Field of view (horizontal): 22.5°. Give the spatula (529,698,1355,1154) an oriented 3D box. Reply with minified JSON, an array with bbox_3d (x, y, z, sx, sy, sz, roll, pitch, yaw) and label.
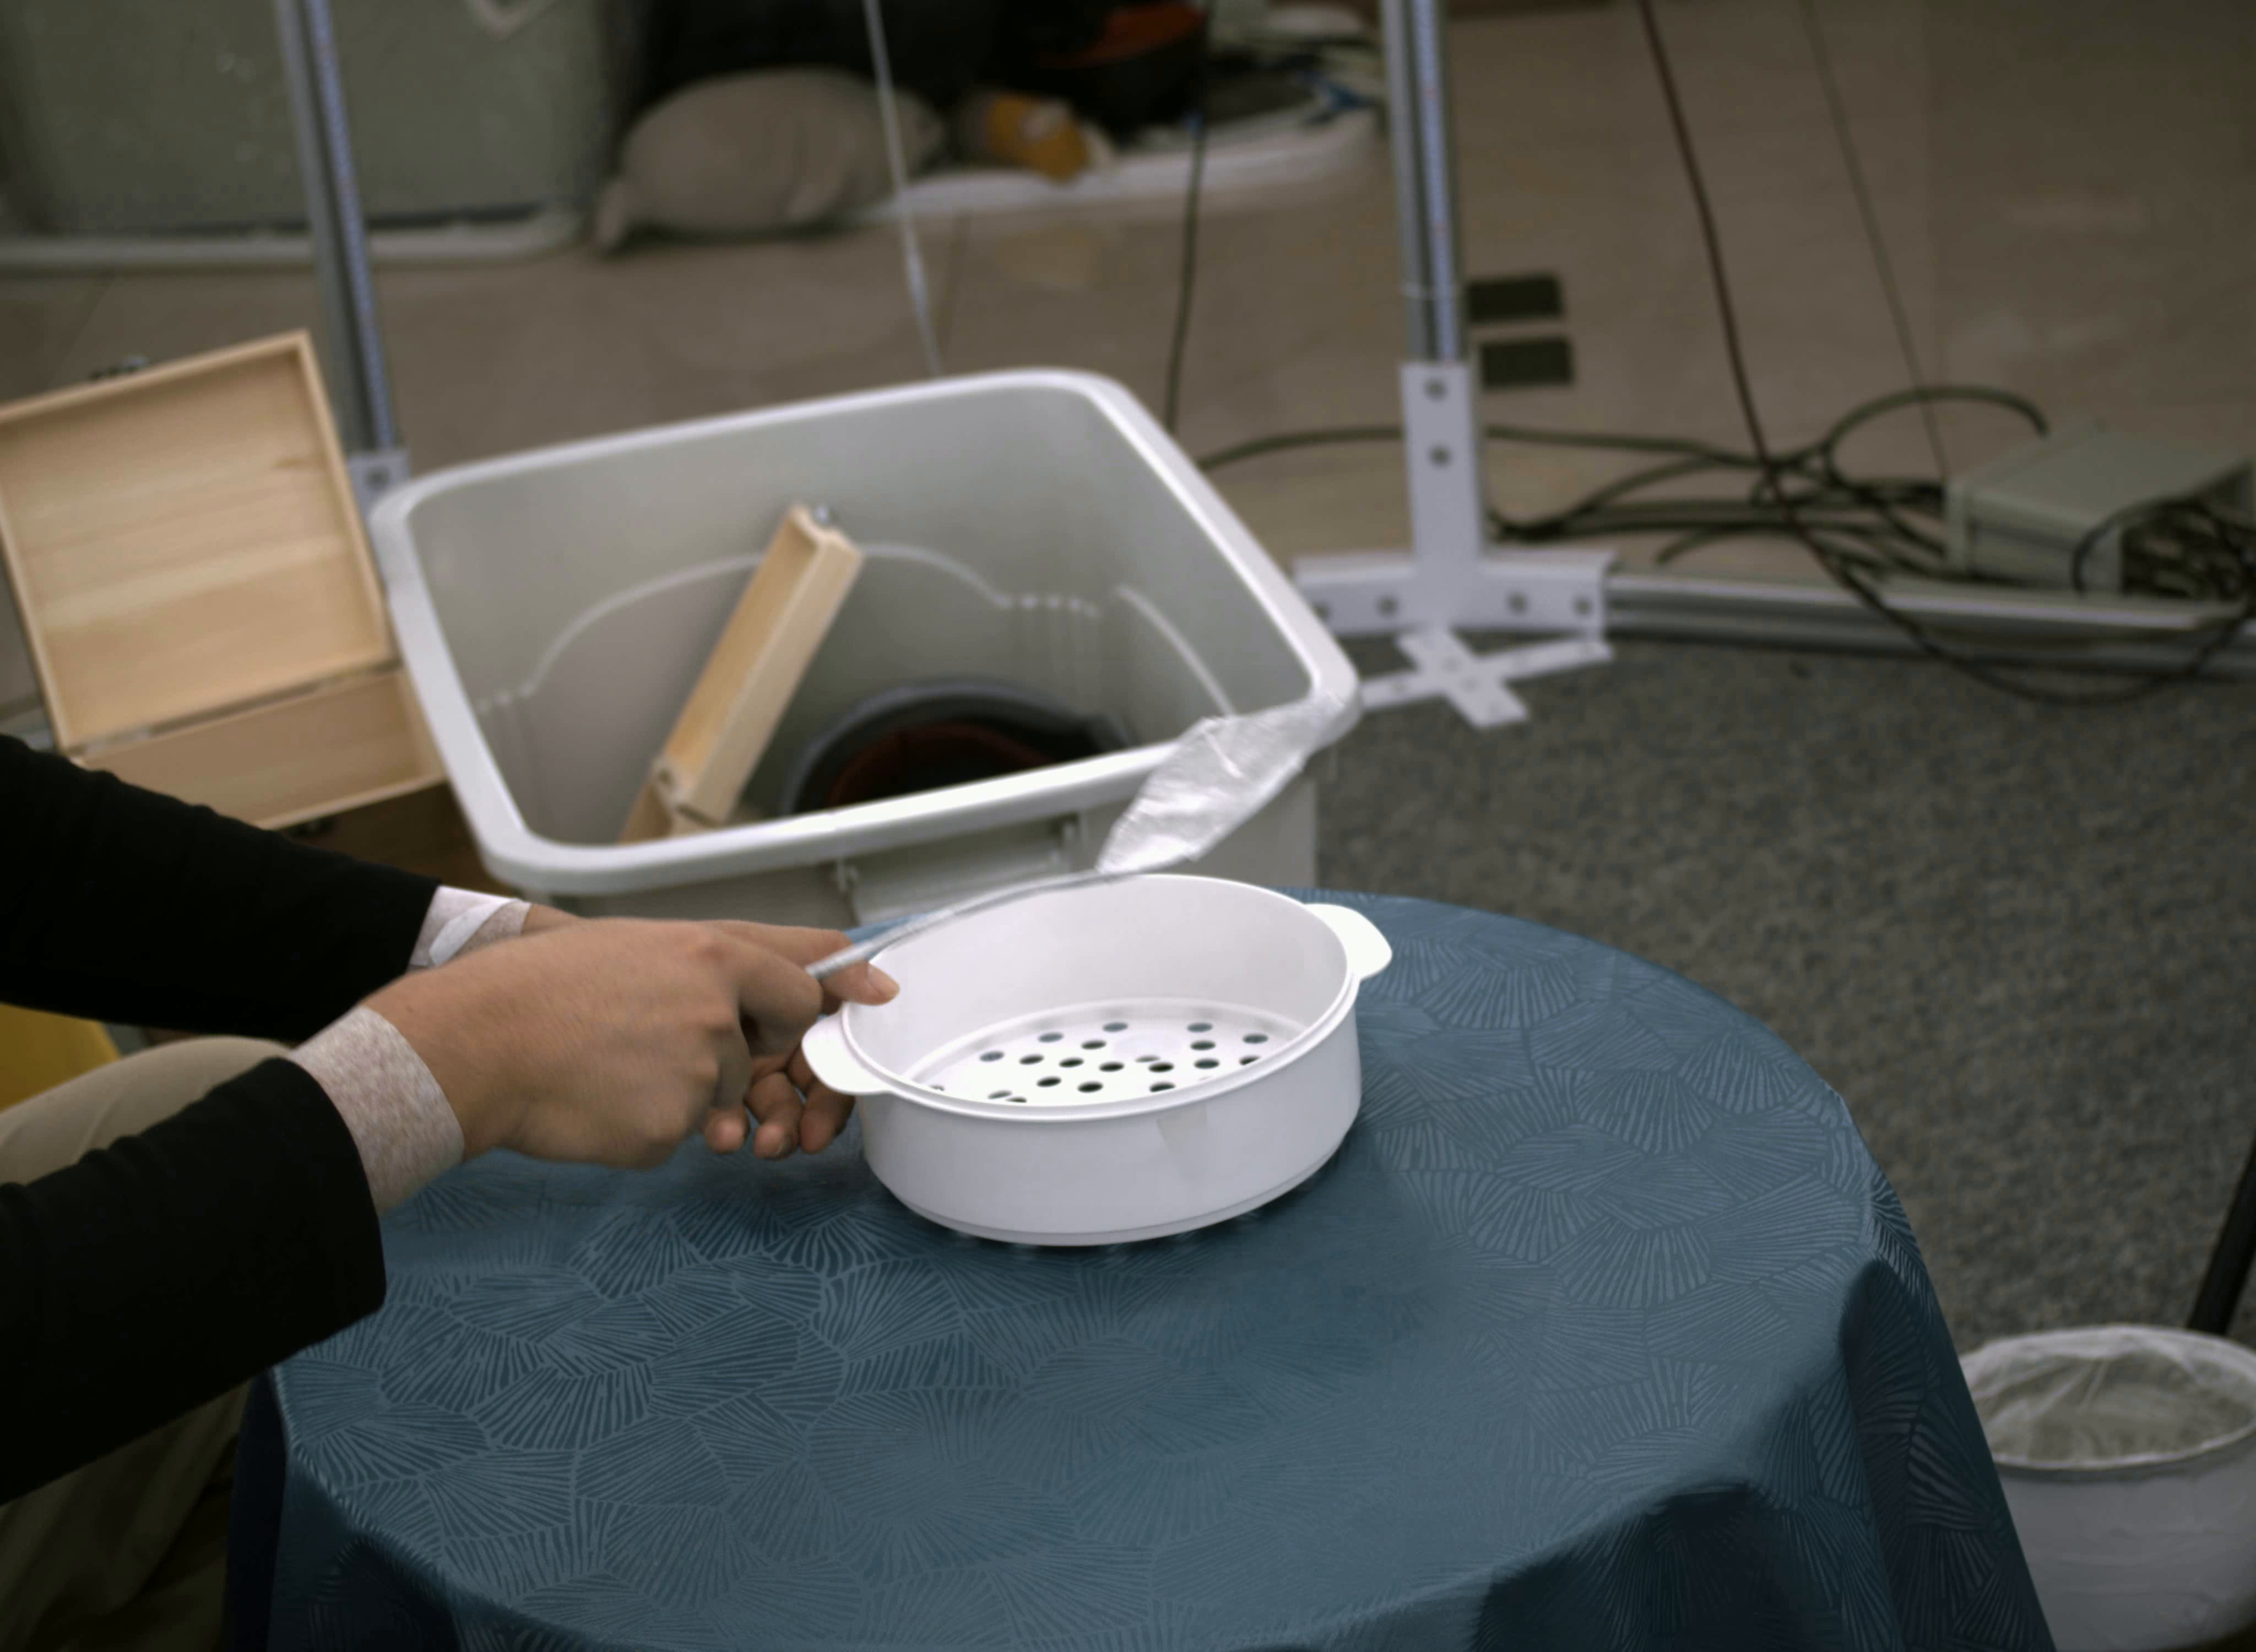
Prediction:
[{"bbox_3d":[-0.066,0.032,1.998,0.362,0.045,0.099,-23,10,-35],"label":"spatula"}]

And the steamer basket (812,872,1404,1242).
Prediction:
[{"bbox_3d":[-0.004,0.089,2.173,0.230,0.070,0.199,-14,25,-12],"label":"steamer basket"}]
